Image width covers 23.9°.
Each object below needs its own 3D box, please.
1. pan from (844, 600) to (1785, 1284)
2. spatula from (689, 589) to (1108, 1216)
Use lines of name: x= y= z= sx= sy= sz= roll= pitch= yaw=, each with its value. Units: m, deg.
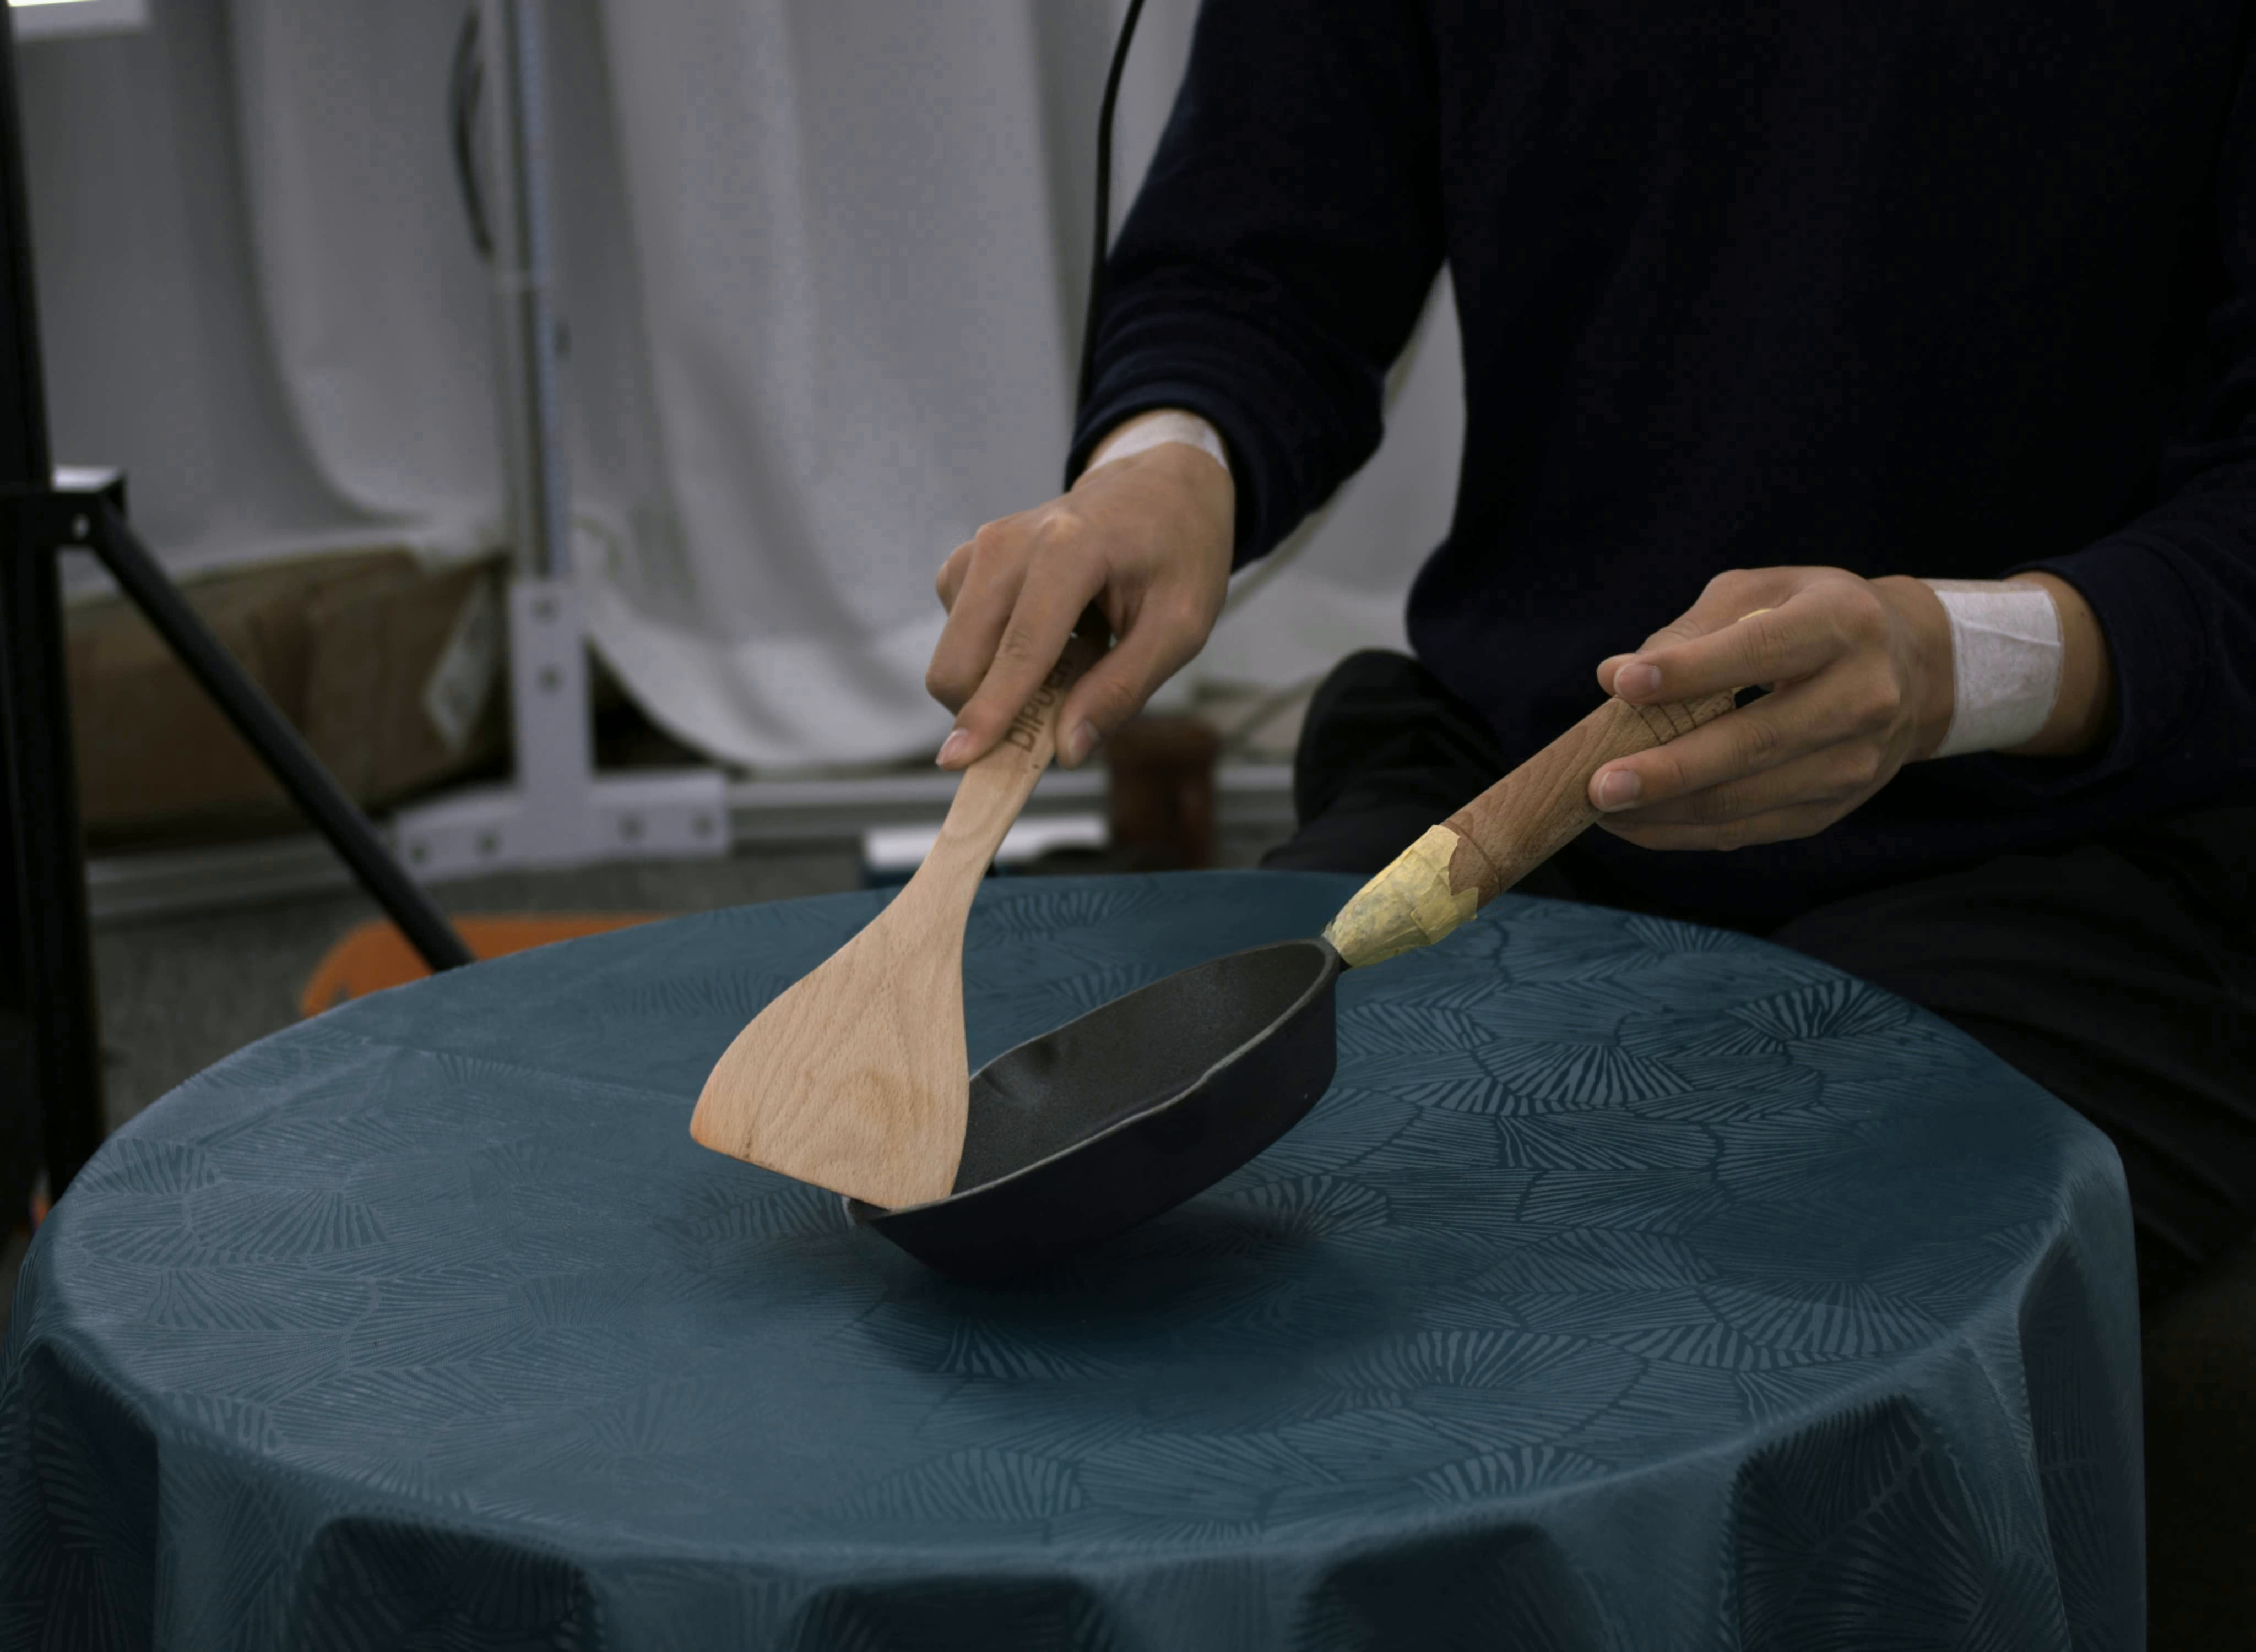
pan: x=0.063 y=0.035 z=1.512 sx=0.321 sy=0.049 sz=0.171 roll=-32 pitch=10 yaw=-11
spatula: x=-0.053 y=0.016 z=1.619 sx=0.080 sy=0.016 sz=0.327 roll=24 pitch=38 yaw=0
